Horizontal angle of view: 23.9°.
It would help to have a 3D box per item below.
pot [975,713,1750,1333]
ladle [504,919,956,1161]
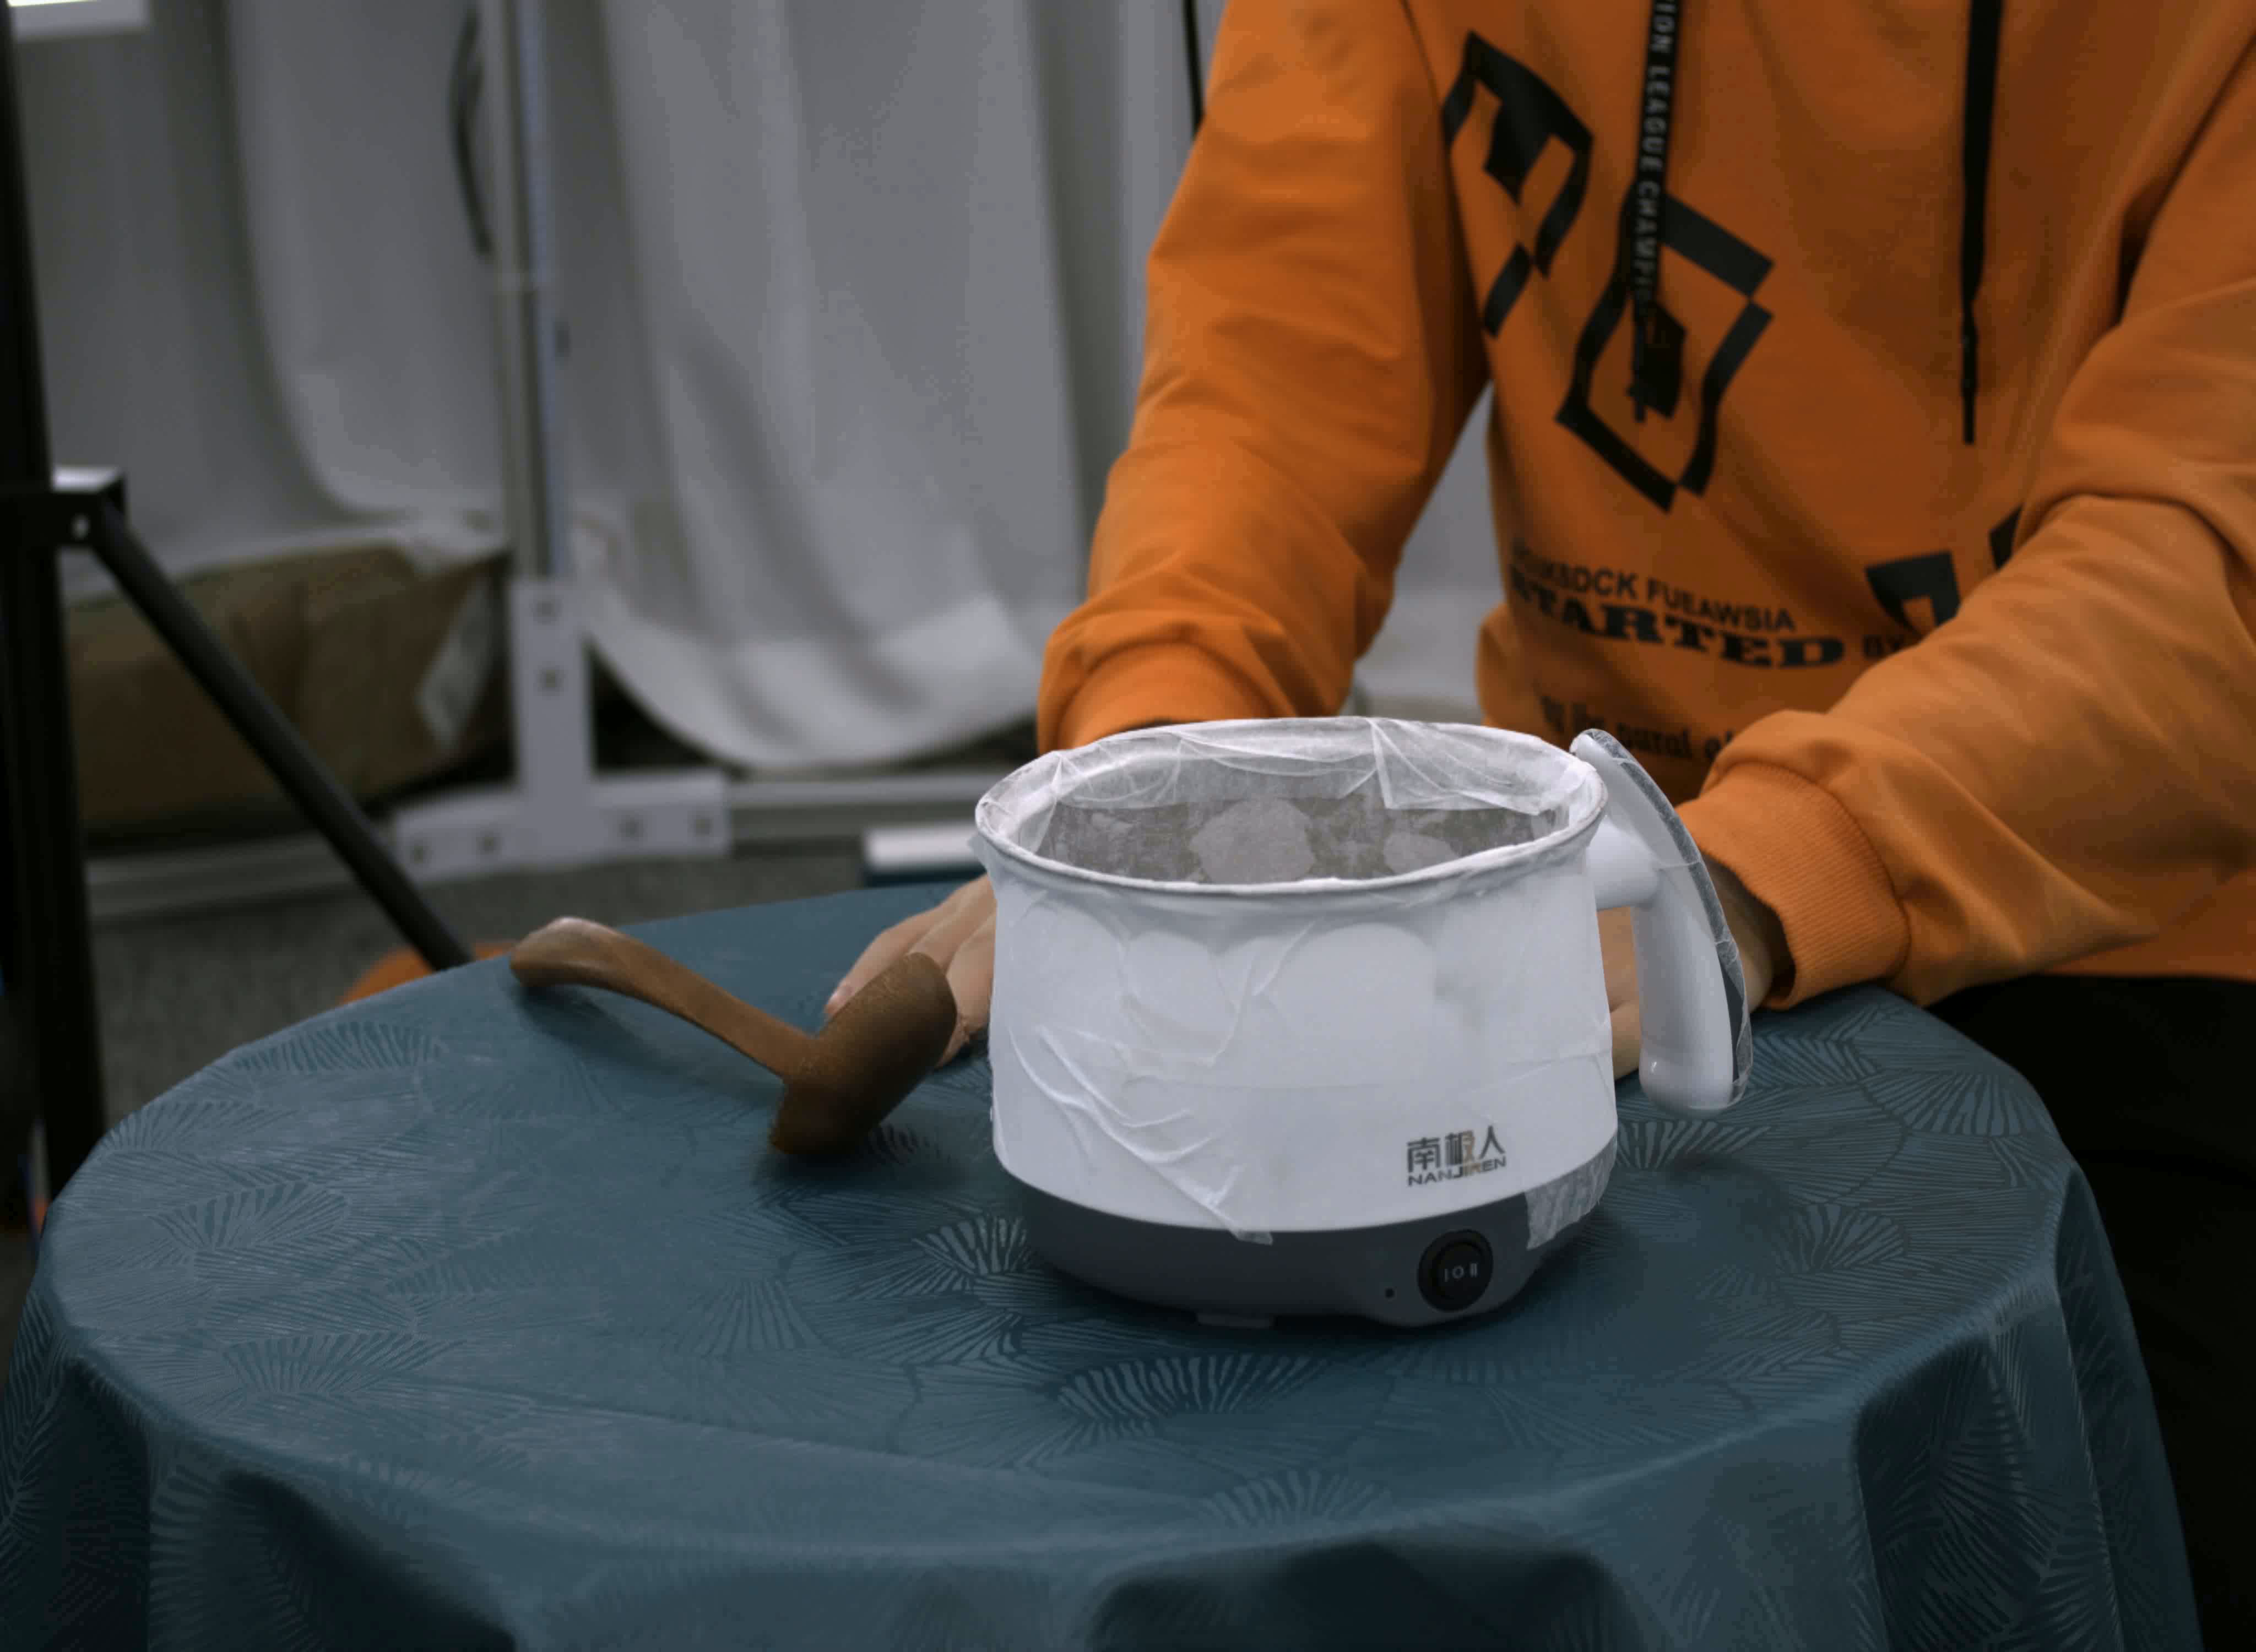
[{"bbox_3d":[0.072,0.049,1.503,0.229,0.136,0.182,-10,18,-25],"label":"pot"},{"bbox_3d":[-0.138,0.050,1.676,0.075,0.064,0.266,-37,30,-21],"label":"ladle"}]
